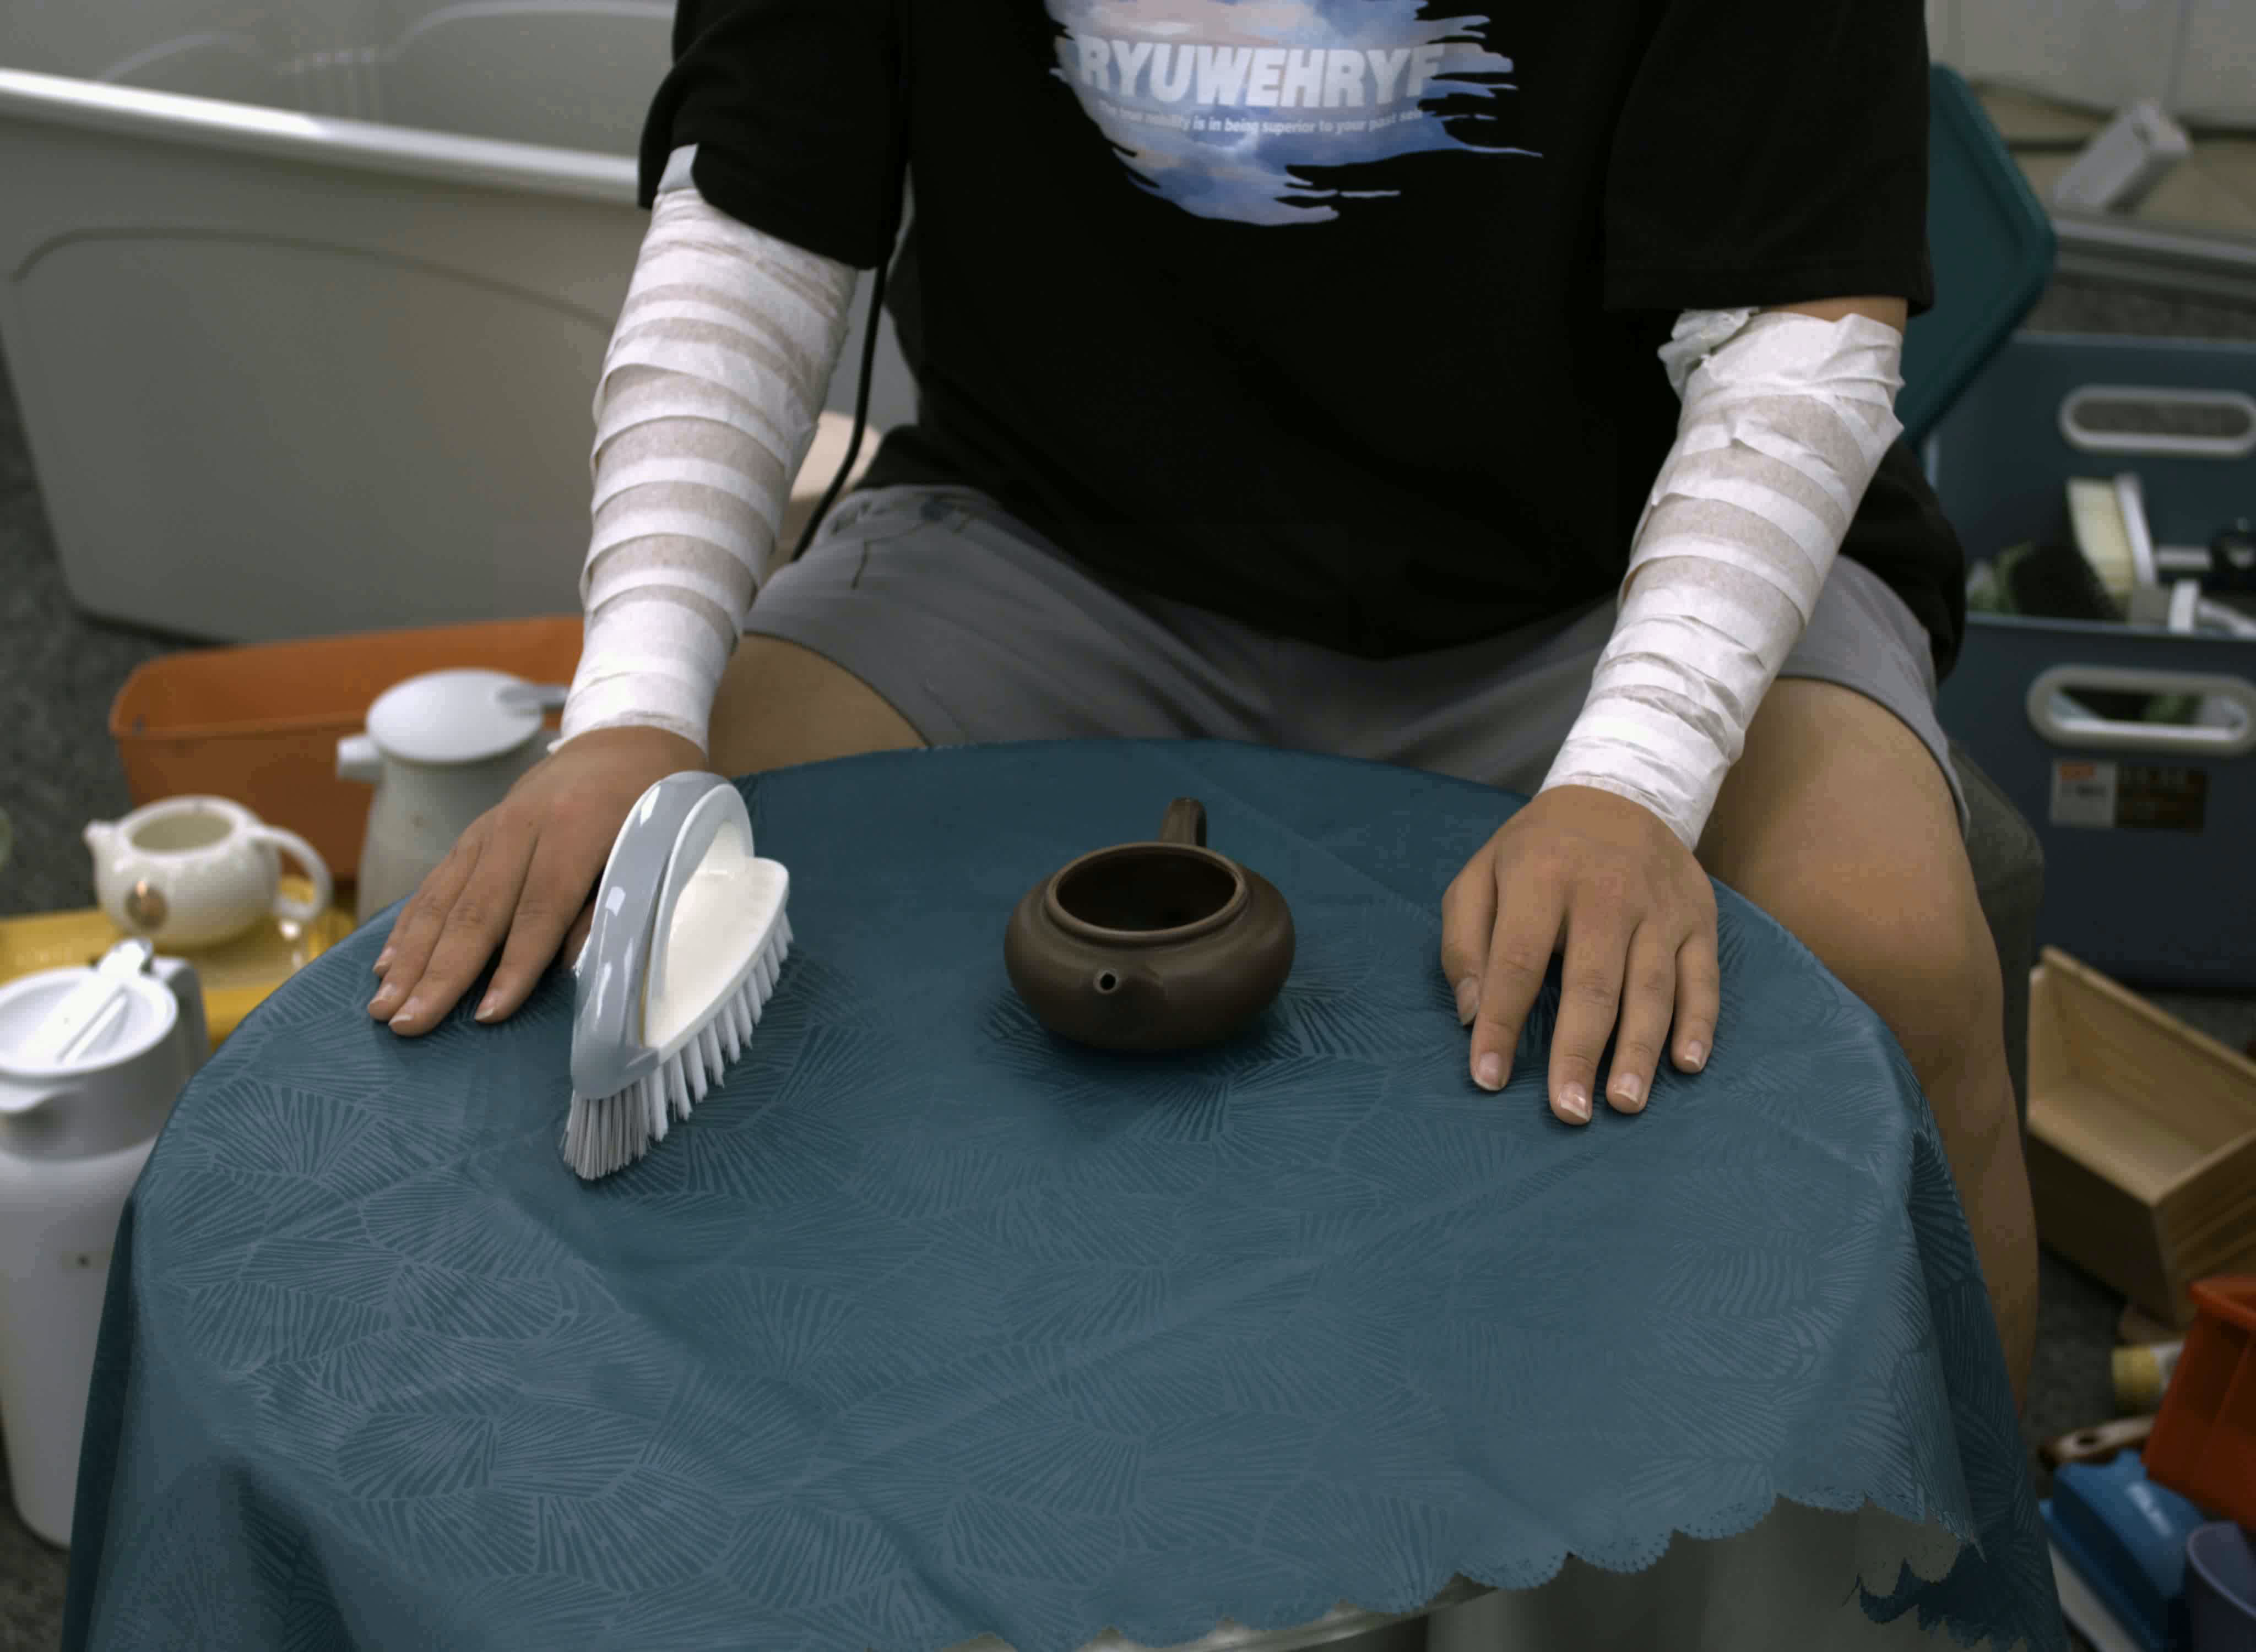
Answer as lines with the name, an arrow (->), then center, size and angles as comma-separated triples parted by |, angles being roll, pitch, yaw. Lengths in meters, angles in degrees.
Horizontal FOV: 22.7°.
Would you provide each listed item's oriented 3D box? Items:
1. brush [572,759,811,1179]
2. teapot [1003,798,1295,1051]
brush -> -0.160, 0.041, 1.935 | 0.061, 0.093, 0.178 | 0, 28, 14
teapot -> 0.008, 0.038, 1.964 | 0.102, 0.053, 0.156 | 1, 27, 5
